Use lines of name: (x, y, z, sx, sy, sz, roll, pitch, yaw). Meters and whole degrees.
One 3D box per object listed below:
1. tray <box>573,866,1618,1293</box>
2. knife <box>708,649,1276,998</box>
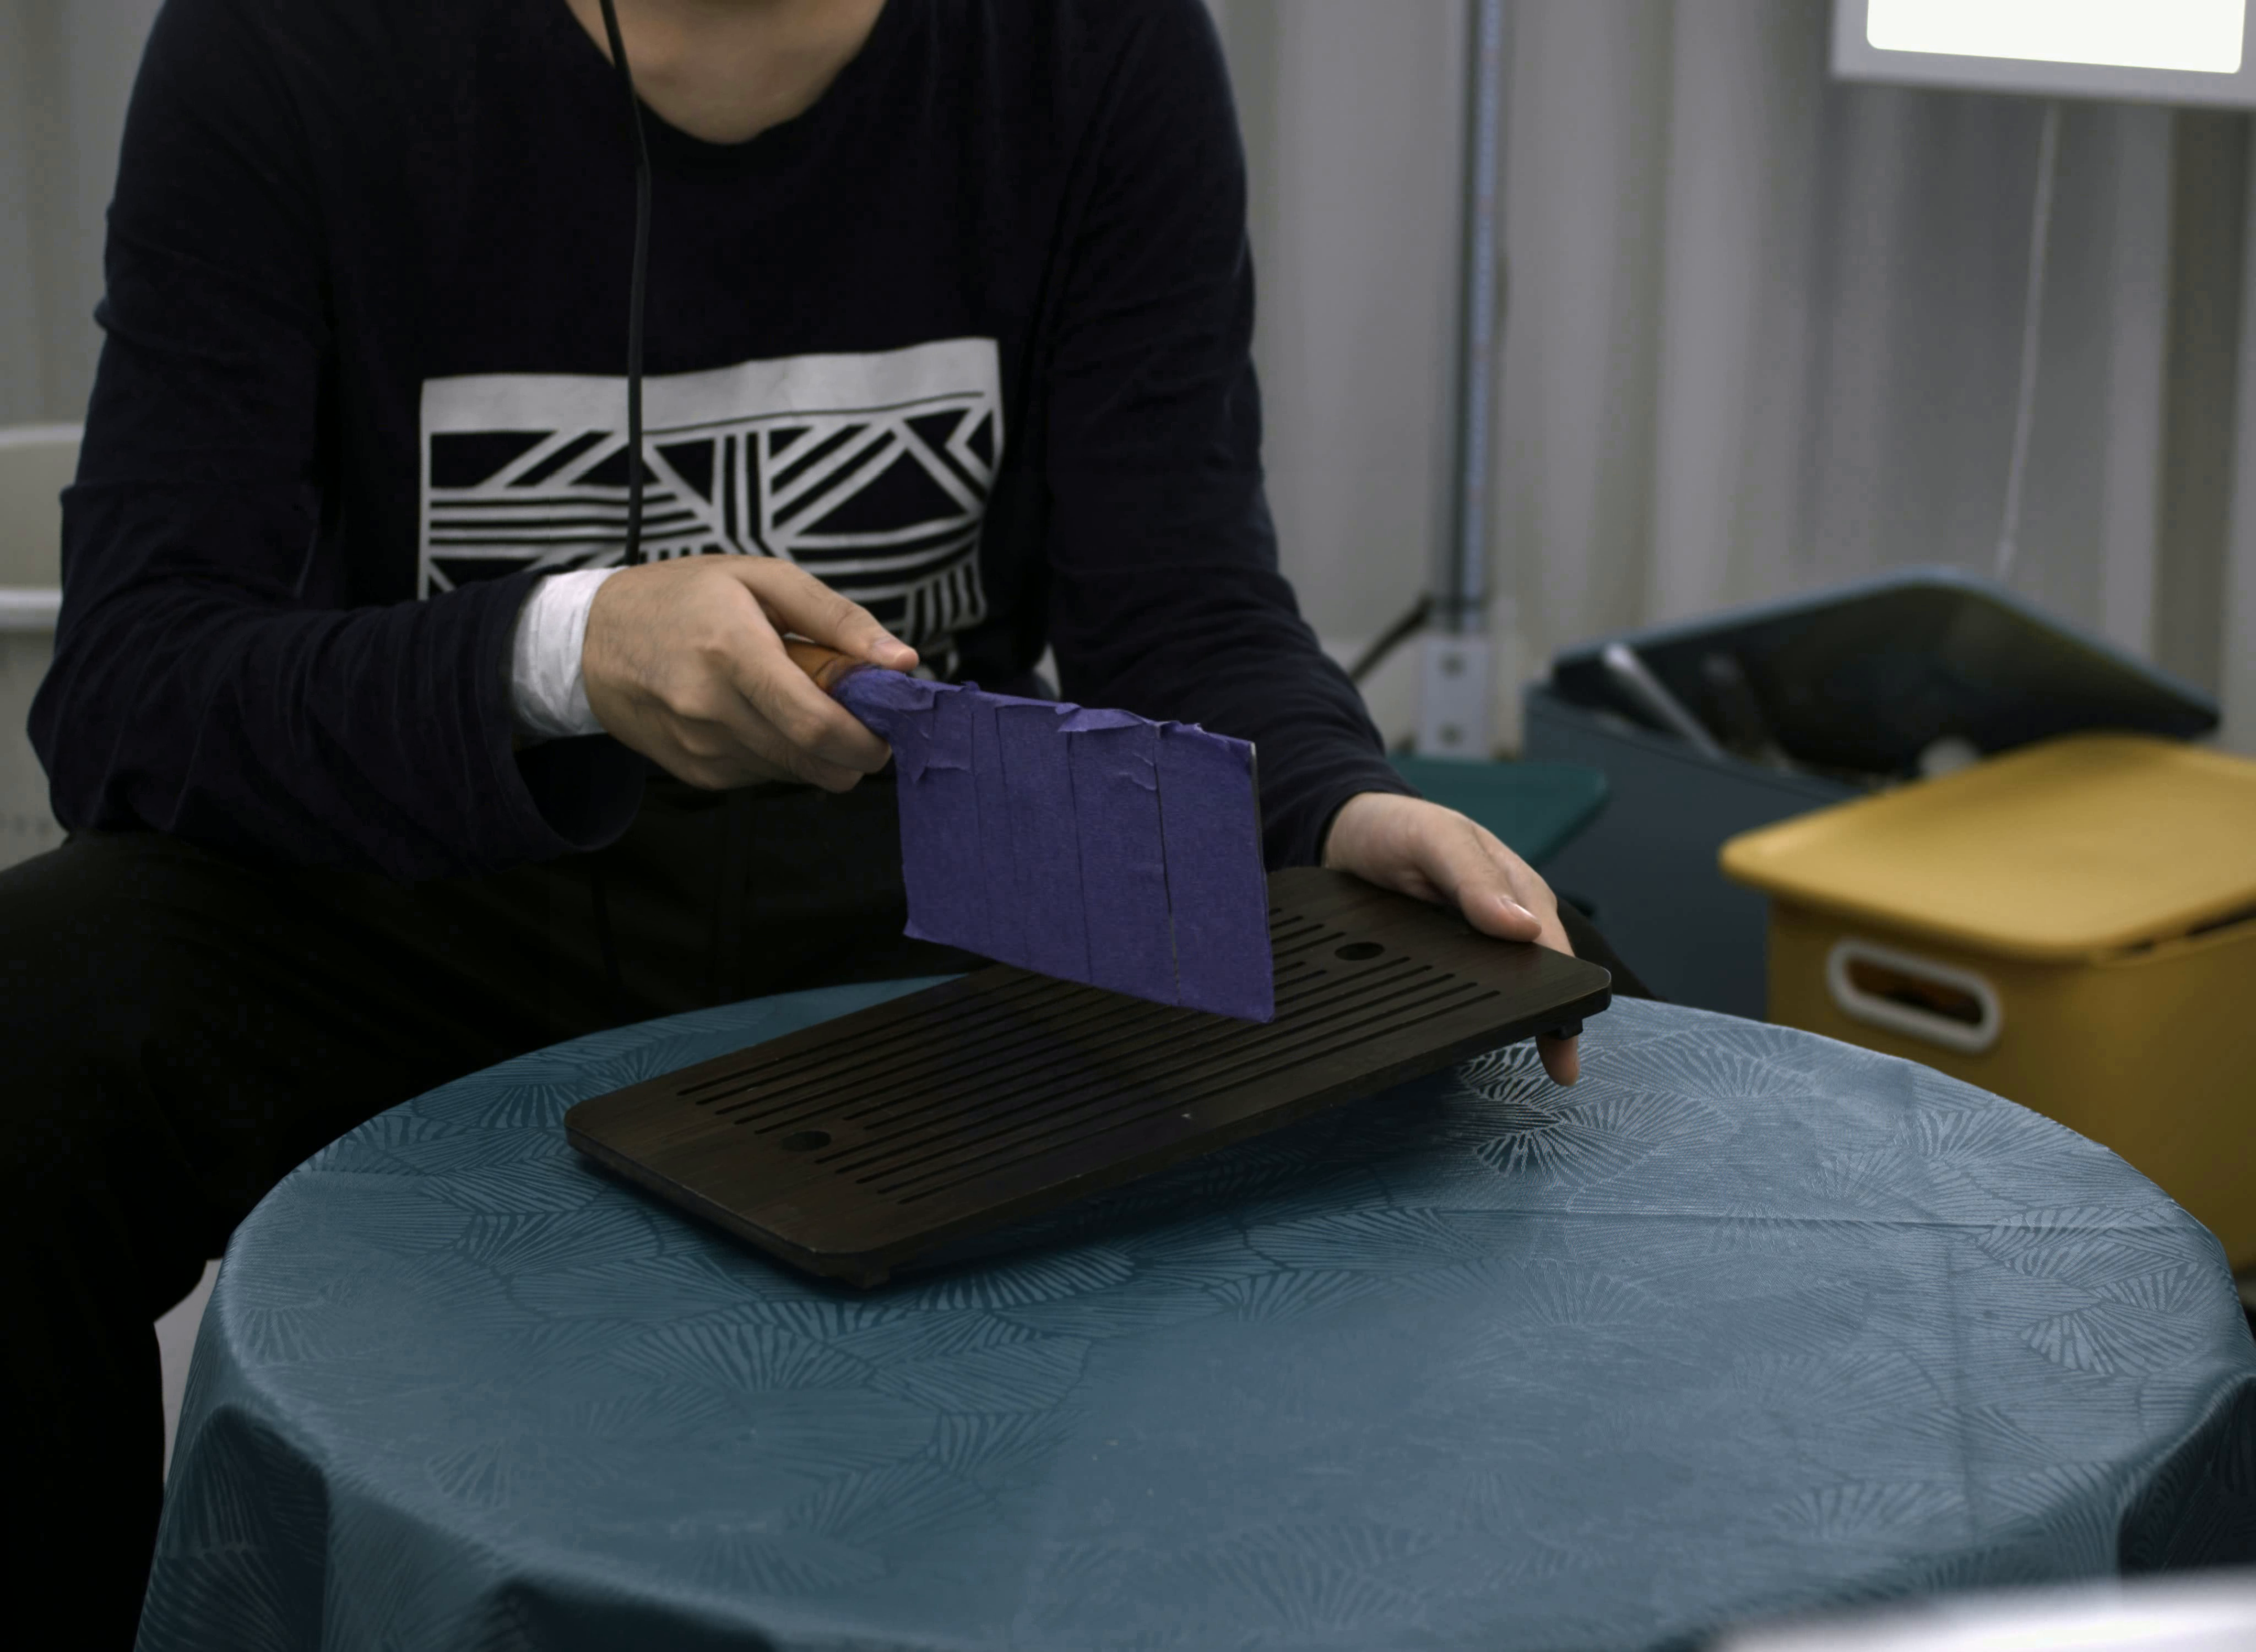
tray: (-0.008, 0.077, 1.662, 0.307, 0.019, 0.168, -18, 23, -32)
knife: (-0.049, -0.002, 1.702, 0.032, 0.104, 0.311, -11, 12, -31)
